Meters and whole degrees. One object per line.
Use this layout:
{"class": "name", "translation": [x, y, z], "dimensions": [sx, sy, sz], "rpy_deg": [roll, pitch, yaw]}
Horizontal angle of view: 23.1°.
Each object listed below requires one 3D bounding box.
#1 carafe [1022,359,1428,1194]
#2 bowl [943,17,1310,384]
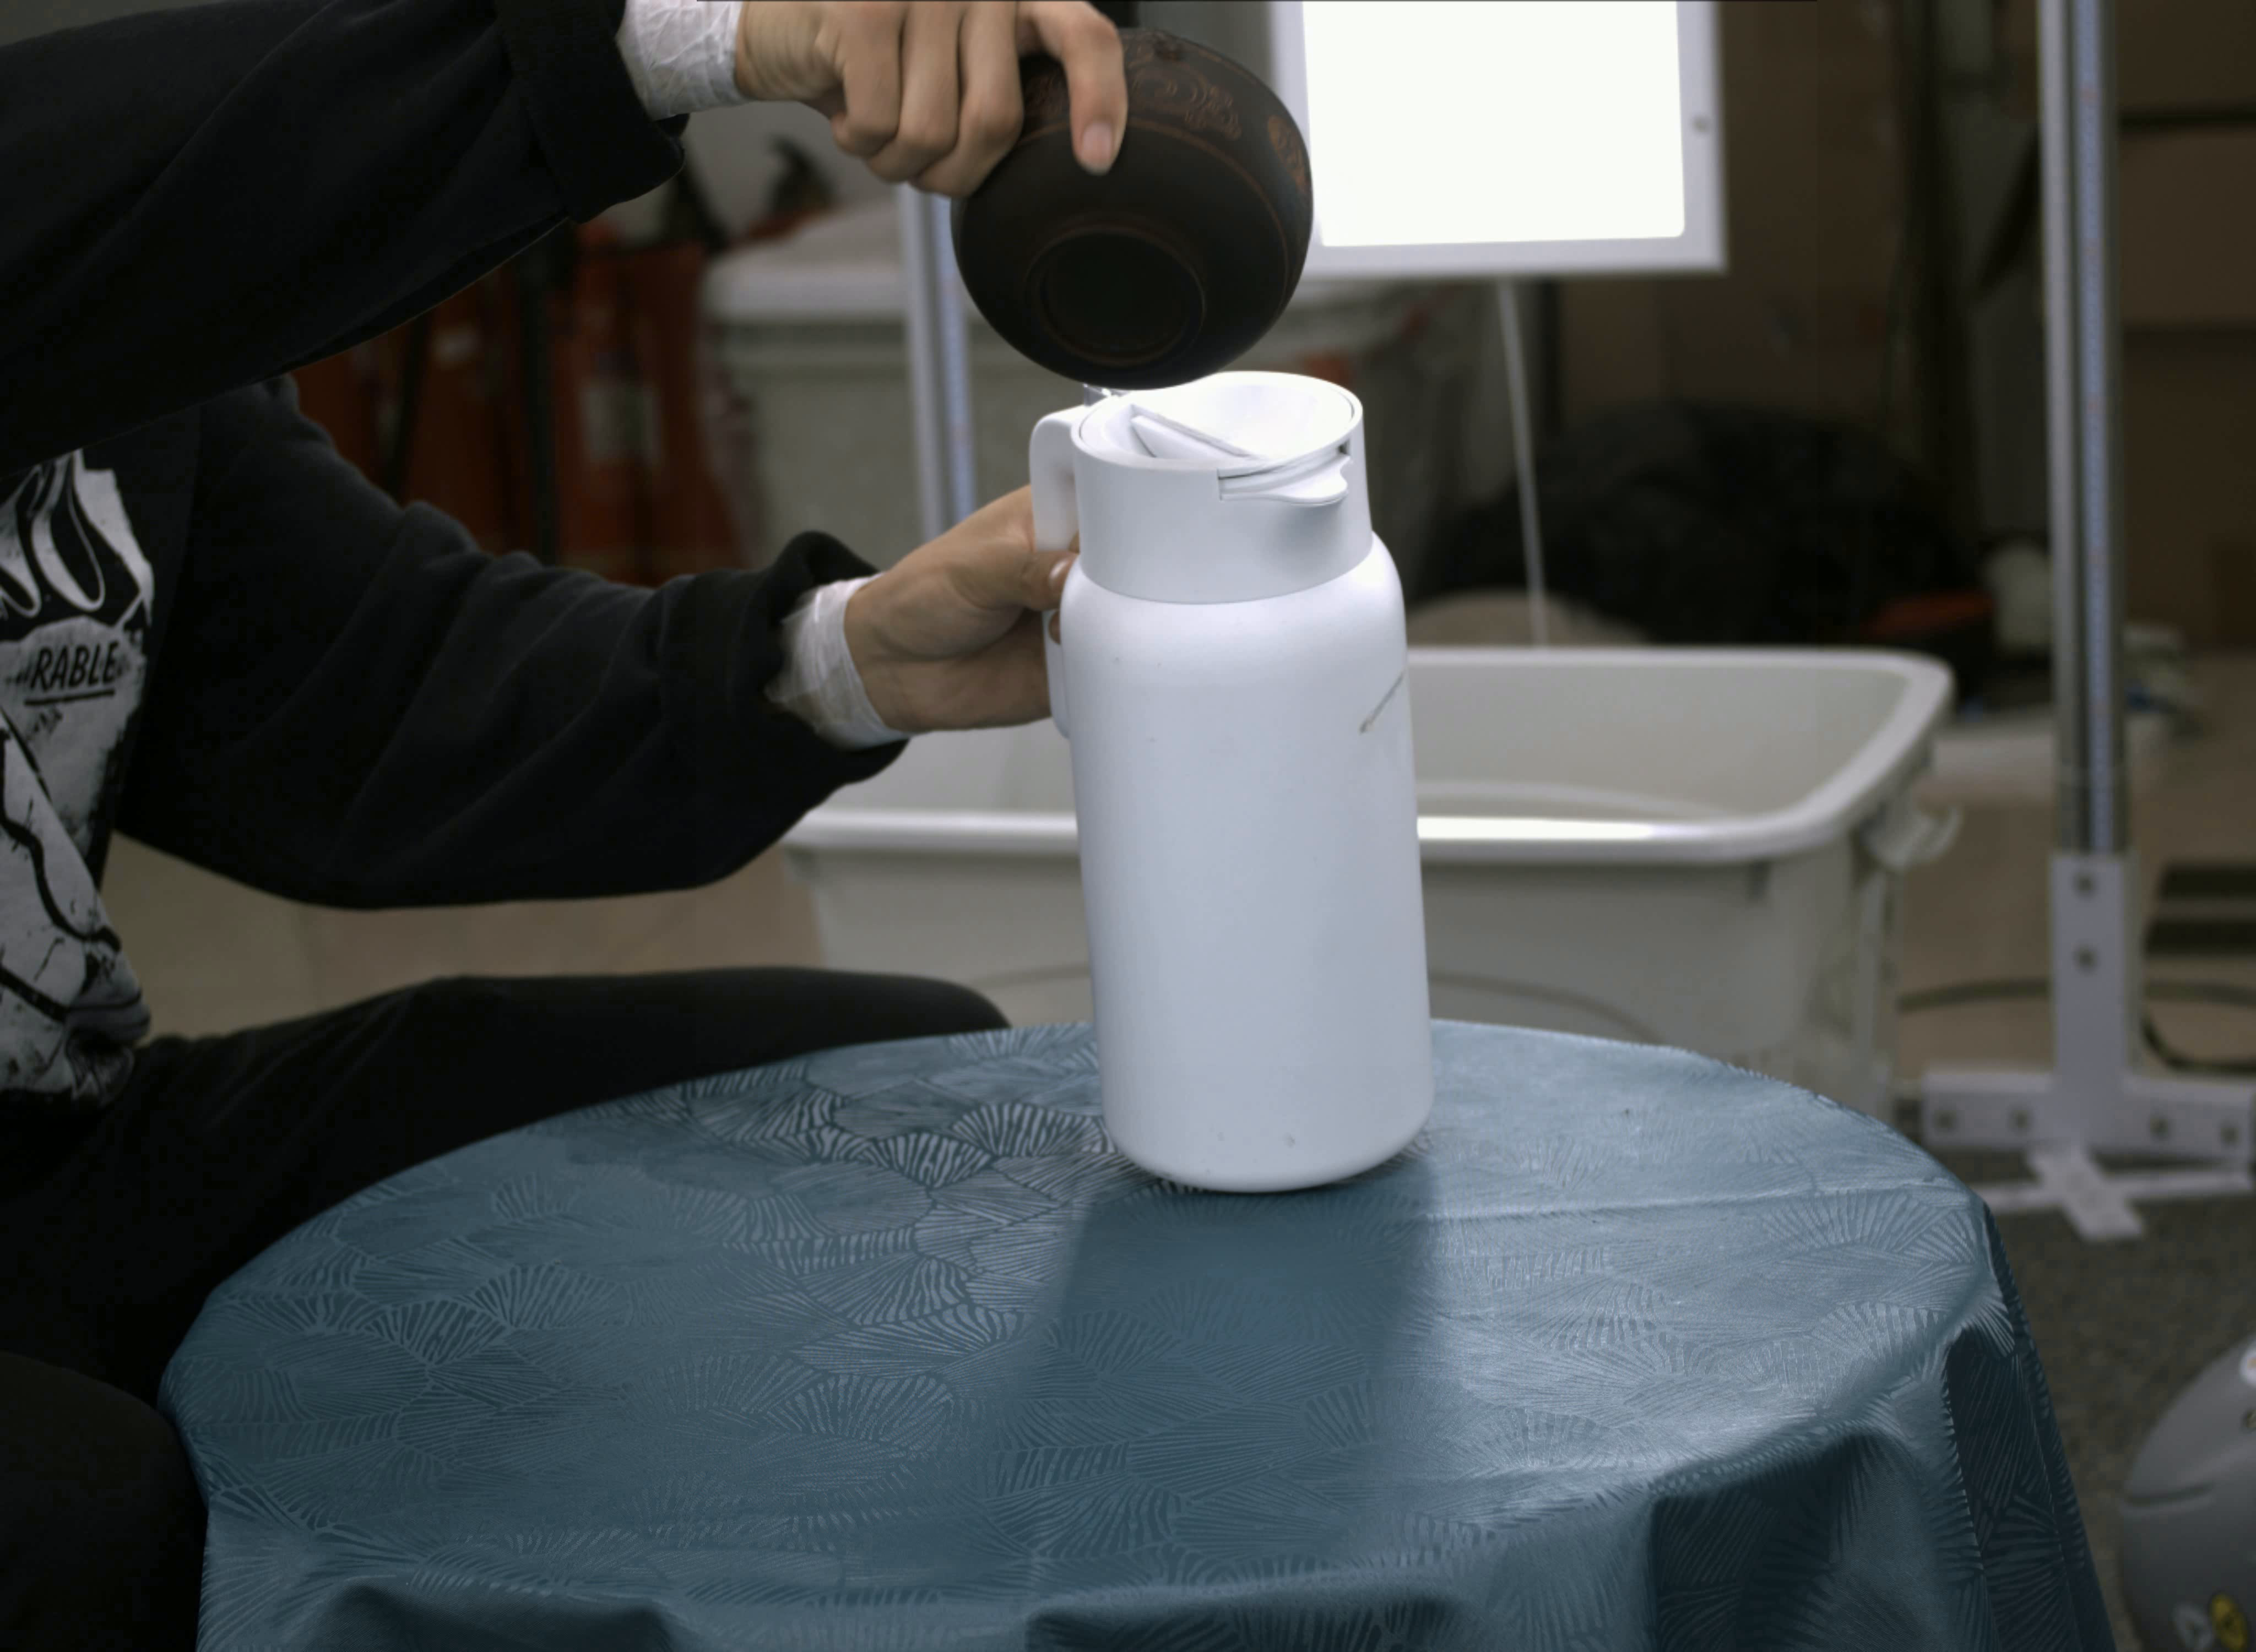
{"class": "carafe", "translation": [0.028, -0.020, 1.891], "dimensions": [0.121, 0.270, 0.176], "rpy_deg": [-21, 28, -28]}
{"class": "bowl", "translation": [-0.002, -0.190, 1.743], "dimensions": [0.119, 0.118, 0.069], "rpy_deg": [-1, 41, 11]}
